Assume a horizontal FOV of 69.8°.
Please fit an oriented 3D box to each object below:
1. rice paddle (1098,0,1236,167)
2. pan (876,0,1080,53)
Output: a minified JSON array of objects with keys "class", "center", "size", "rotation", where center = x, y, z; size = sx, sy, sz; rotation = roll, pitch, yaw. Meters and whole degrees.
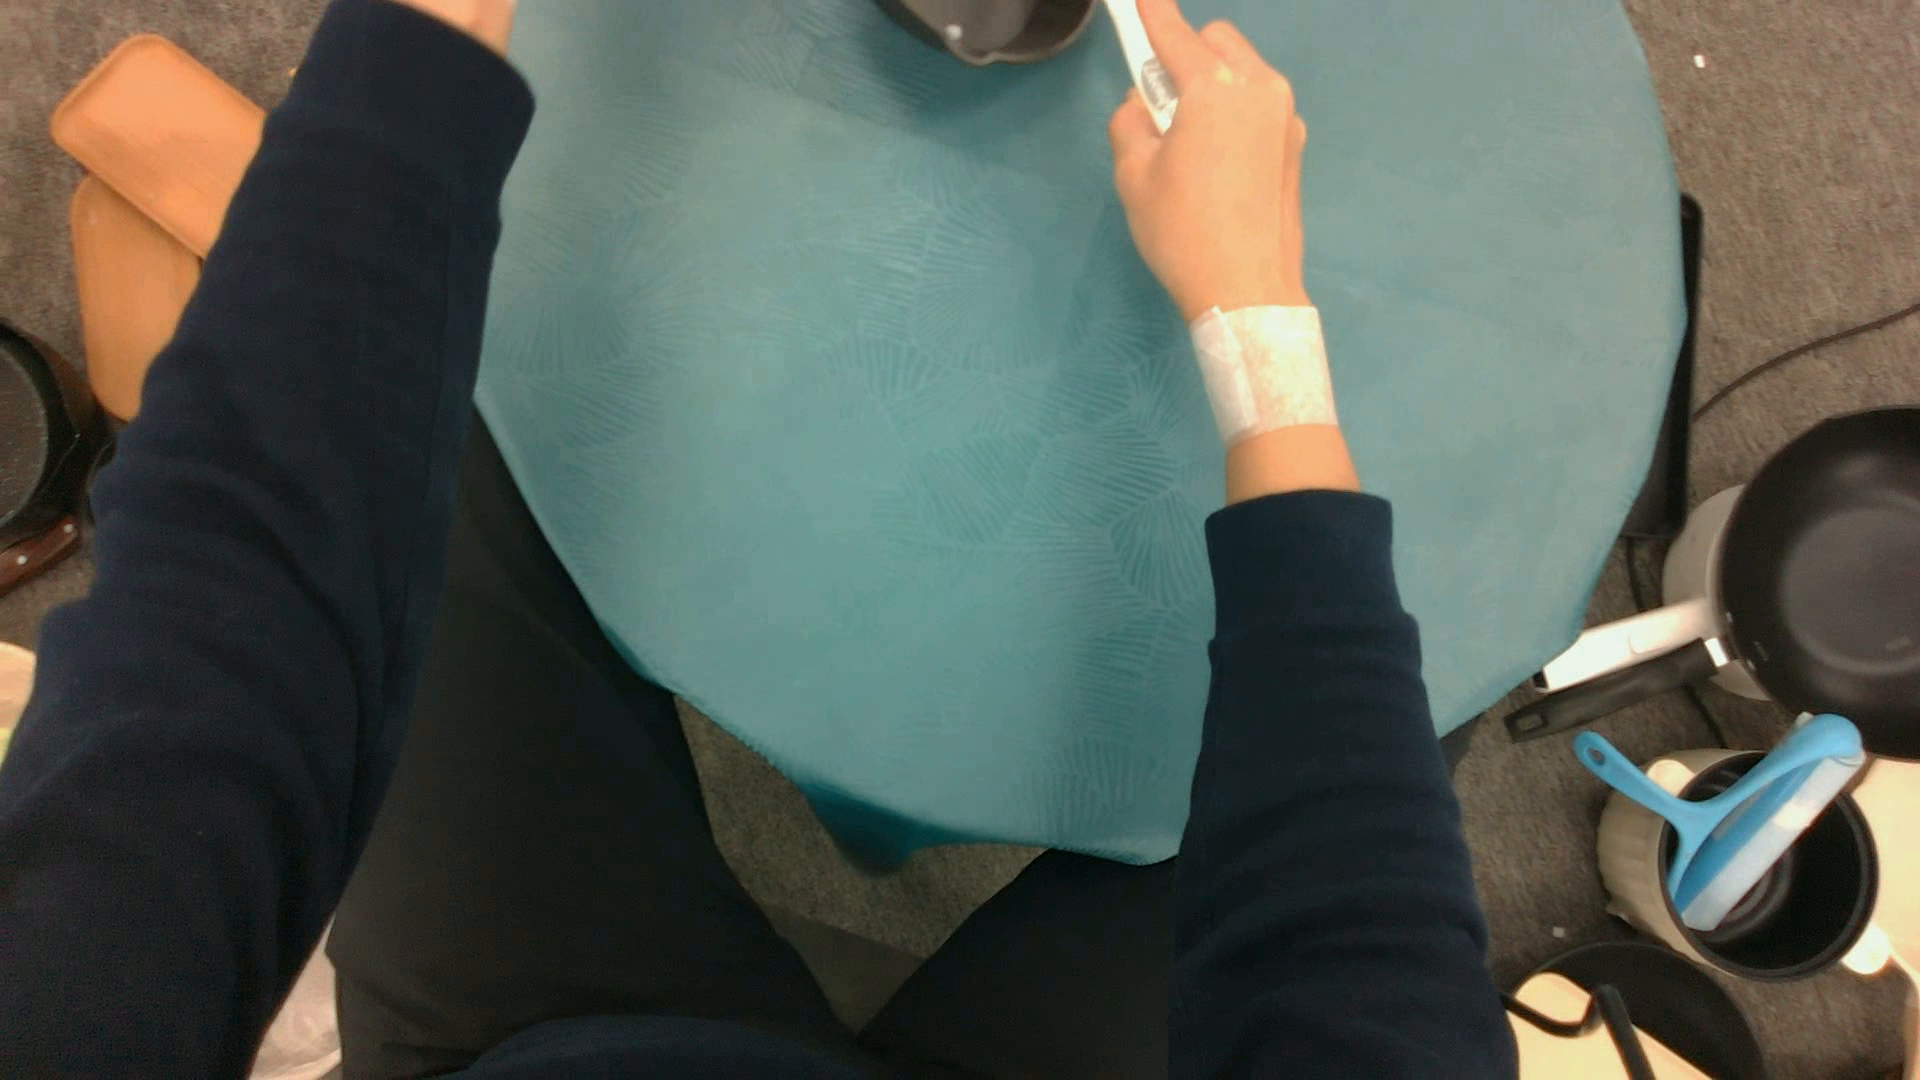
[{"class":"rice paddle","center":[0.063,-0.257,0.621],"size":[0.068,0.029,0.205],"rotation":[-37,68,34]},{"class":"pan","center":[-0.067,-0.309,0.565],"size":[0.324,0.049,0.169],"rotation":[14,73,-39]}]
